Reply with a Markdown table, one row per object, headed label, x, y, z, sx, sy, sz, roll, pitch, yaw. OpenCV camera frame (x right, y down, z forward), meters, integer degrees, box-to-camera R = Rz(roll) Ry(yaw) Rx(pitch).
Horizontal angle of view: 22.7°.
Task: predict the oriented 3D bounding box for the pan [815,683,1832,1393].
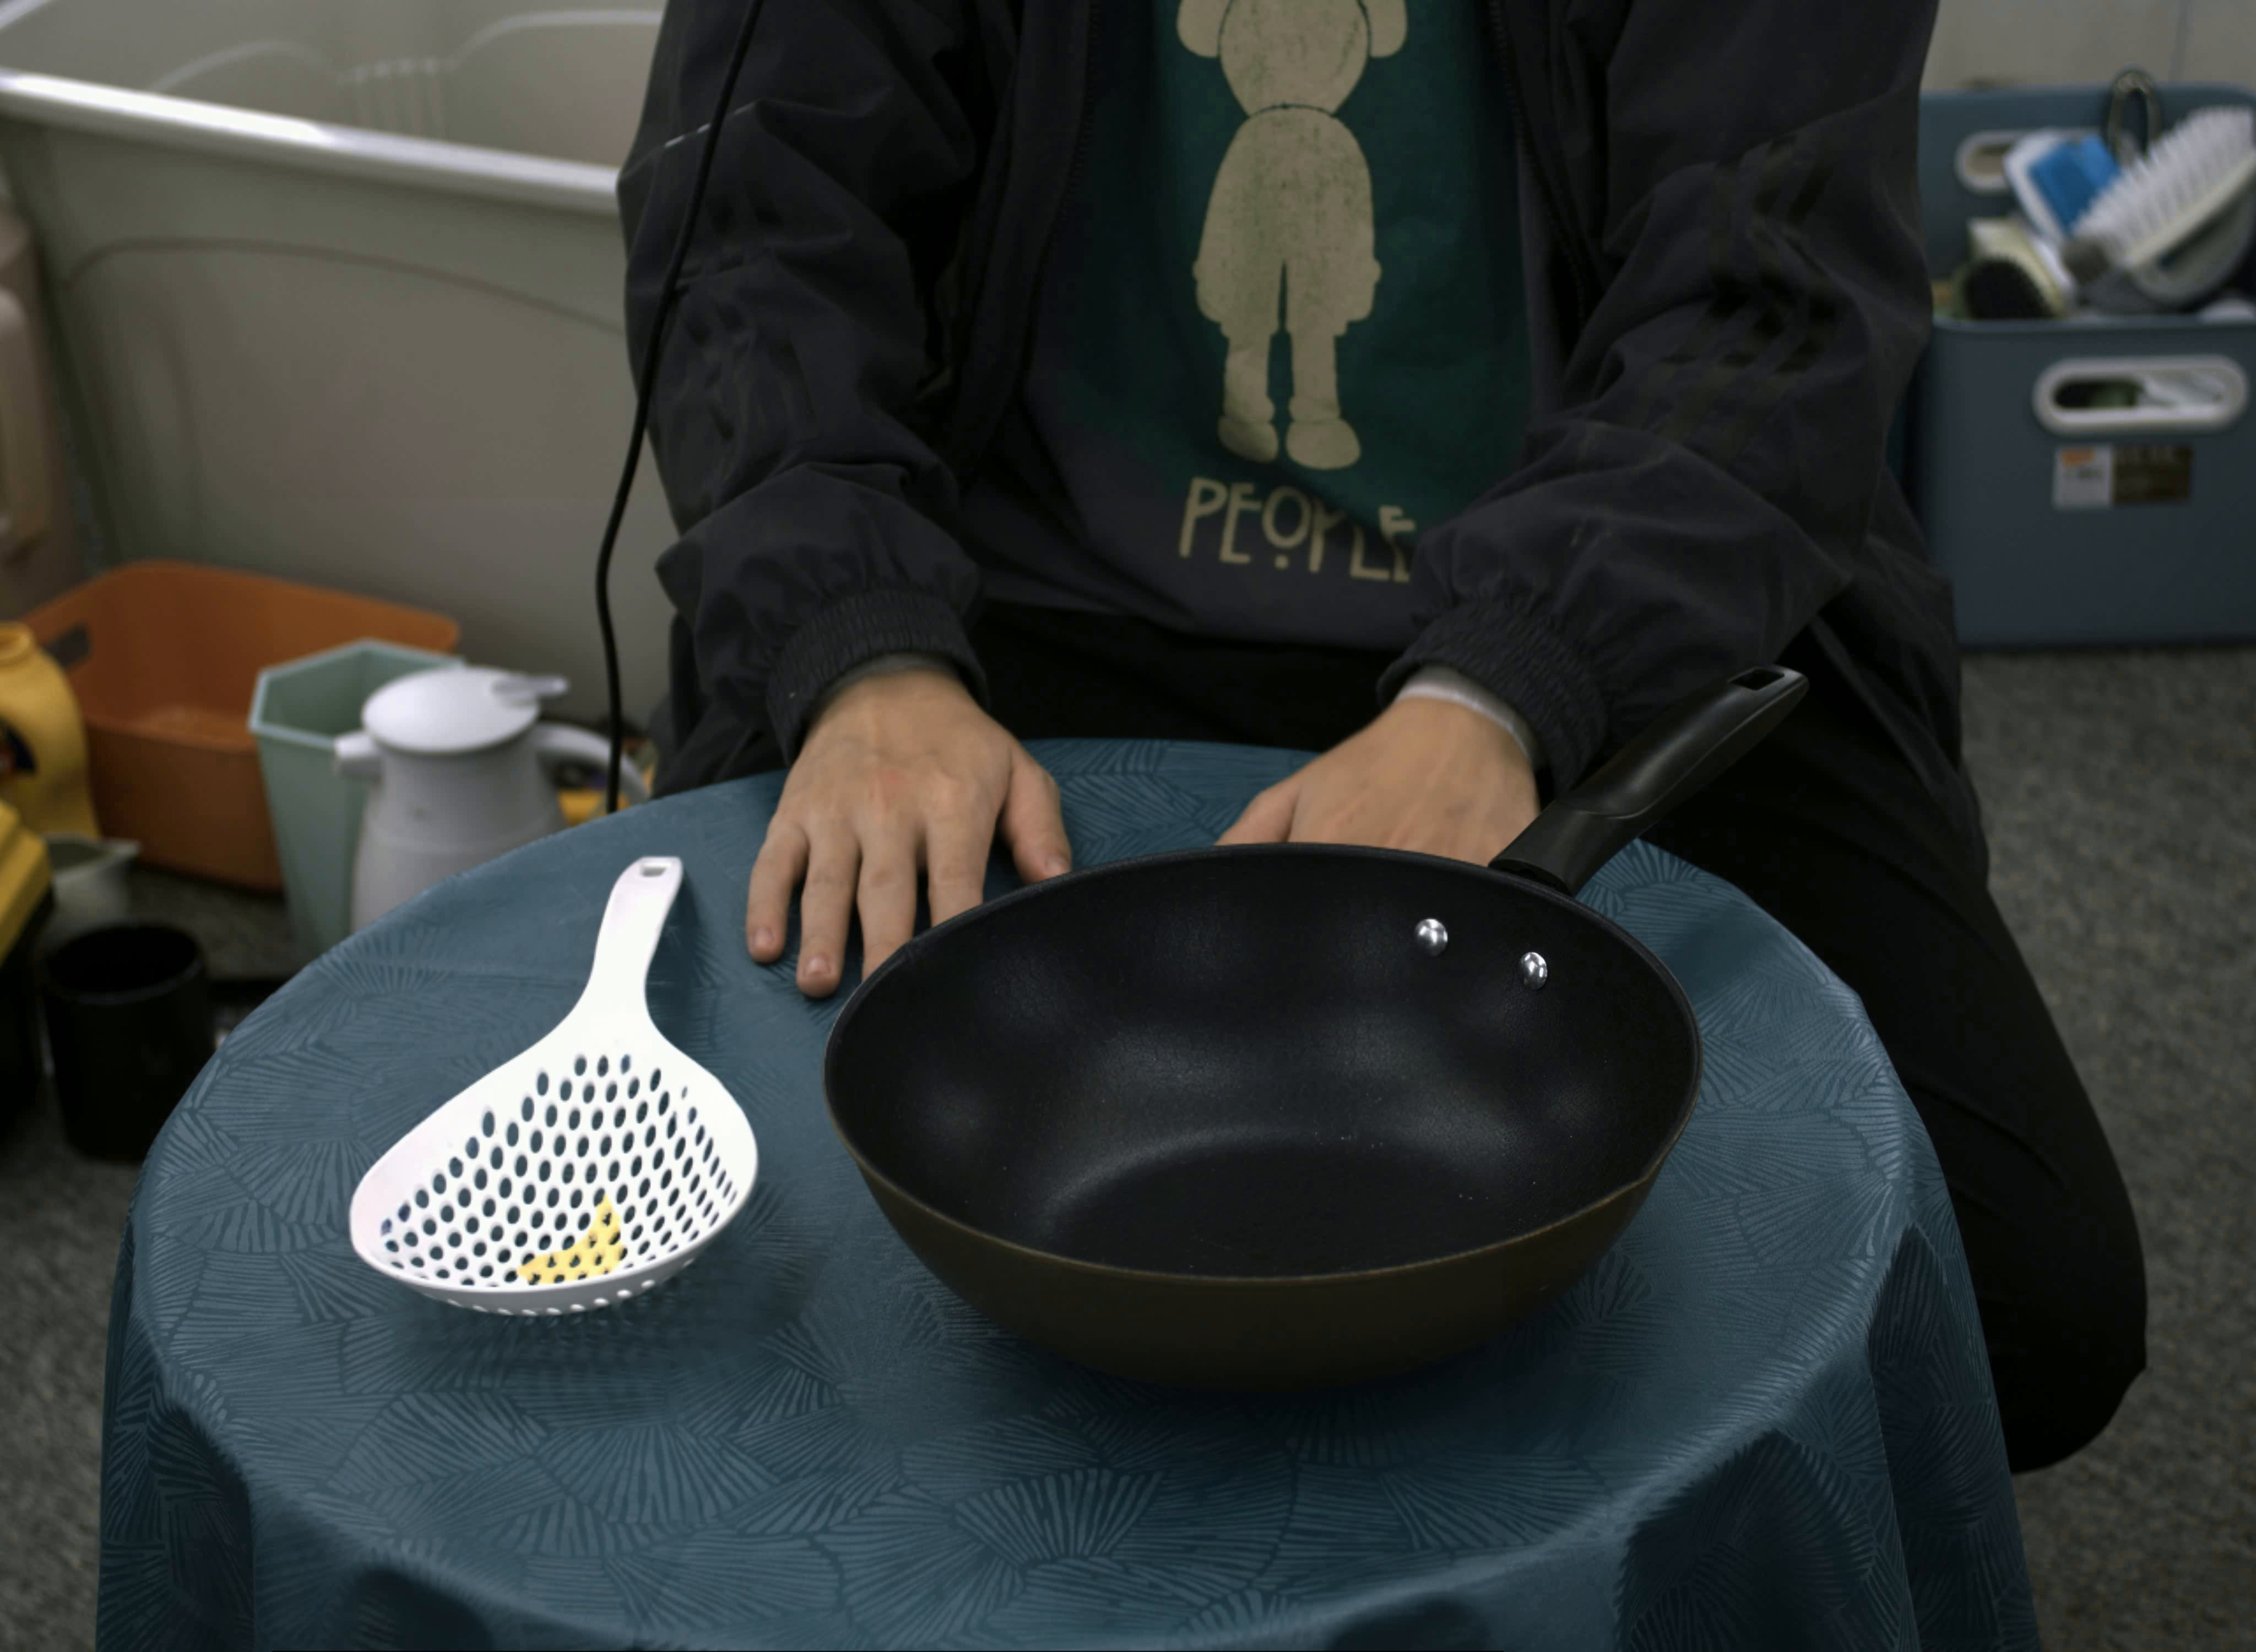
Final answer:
| label | x | y | z | sx | sy | sz | roll | pitch | yaw |
| --- | --- | --- | --- | --- | --- | --- | --- | --- | --- |
| pan | 0.097 | 0.068 | 1.864 | 0.287 | 0.086 | 0.470 | 17 | 32 | 33 |

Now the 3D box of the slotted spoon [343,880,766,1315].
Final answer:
| label | x | y | z | sx | sy | sz | roll | pitch | yaw |
| --- | --- | --- | --- | --- | --- | --- | --- | --- | --- |
| slotted spoon | -0.177 | 0.080 | 1.912 | 0.136 | 0.050 | 0.353 | -4 | 27 | 5 |
